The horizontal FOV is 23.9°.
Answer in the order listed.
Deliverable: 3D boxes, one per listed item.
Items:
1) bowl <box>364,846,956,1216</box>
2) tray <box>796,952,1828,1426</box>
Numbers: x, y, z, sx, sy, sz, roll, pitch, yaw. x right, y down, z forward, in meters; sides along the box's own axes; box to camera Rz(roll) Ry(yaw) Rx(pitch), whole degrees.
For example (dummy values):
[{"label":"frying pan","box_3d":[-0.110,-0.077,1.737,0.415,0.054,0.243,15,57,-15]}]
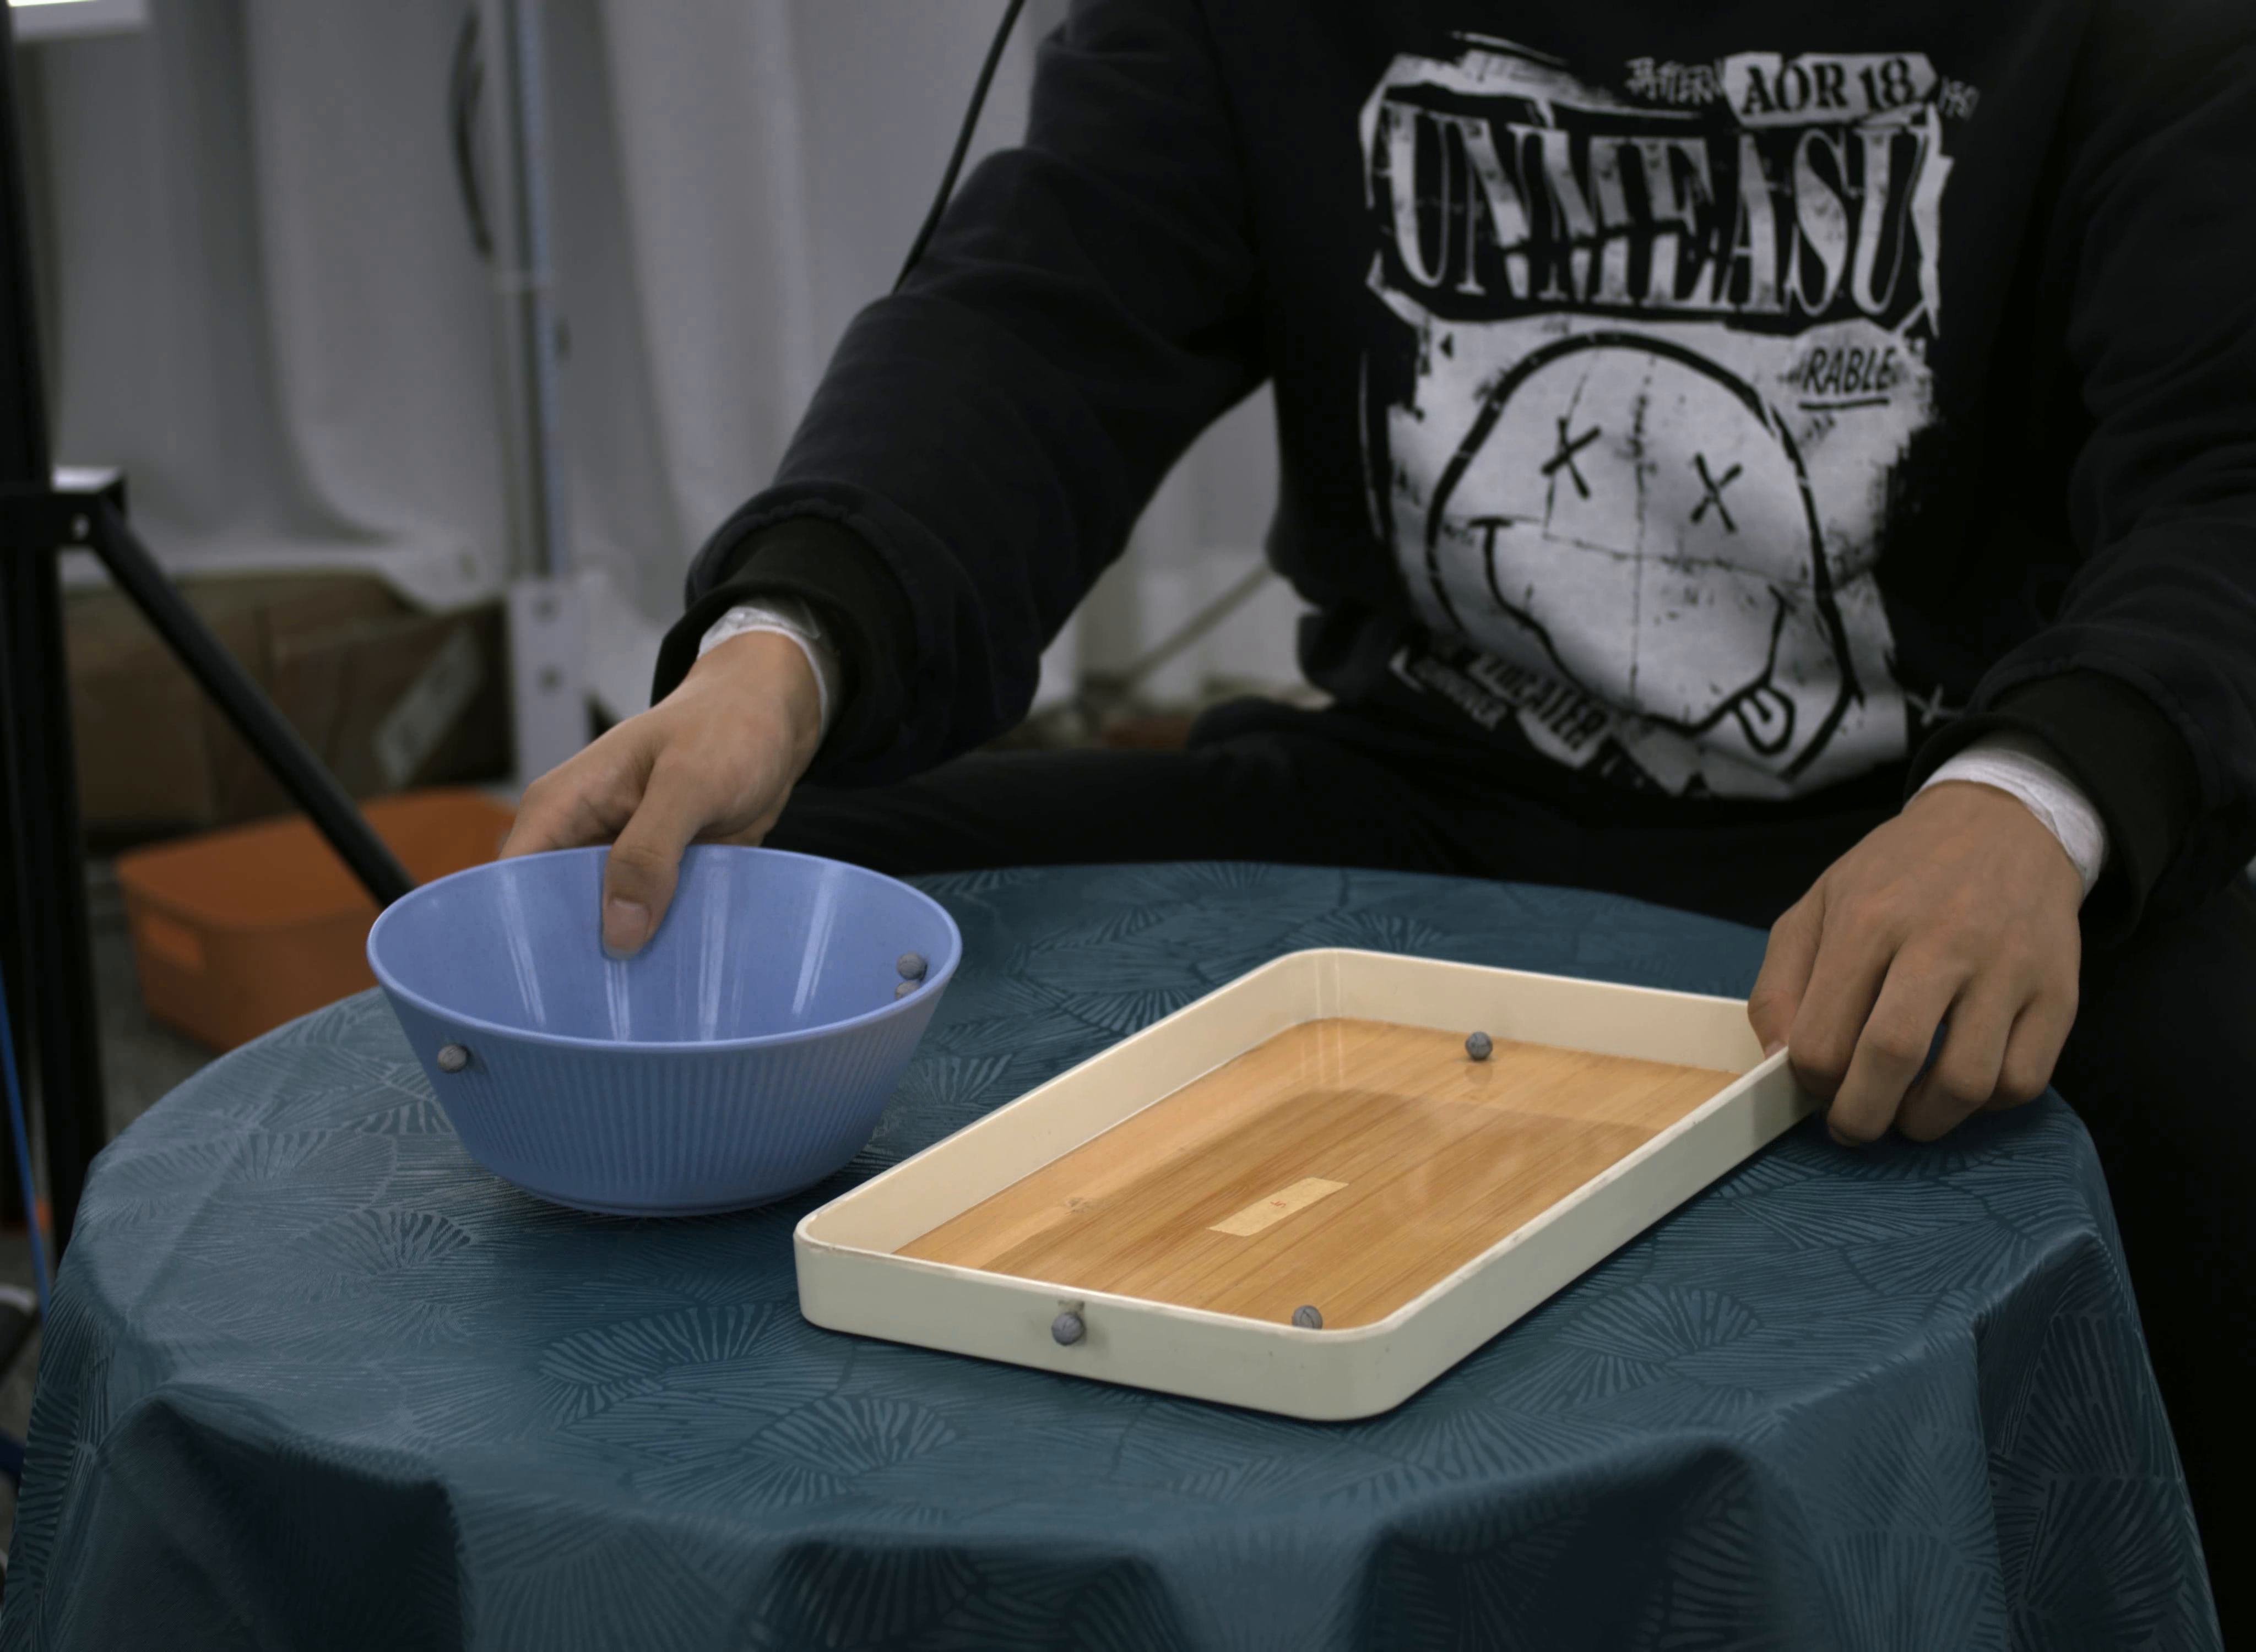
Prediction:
[{"label":"bowl","box_3d":[-0.139,0.064,1.587,0.175,0.070,0.177,1,19,-2]},{"label":"tray","box_3d":[0.060,0.099,1.531,0.195,0.027,0.294,7,19,32]}]
